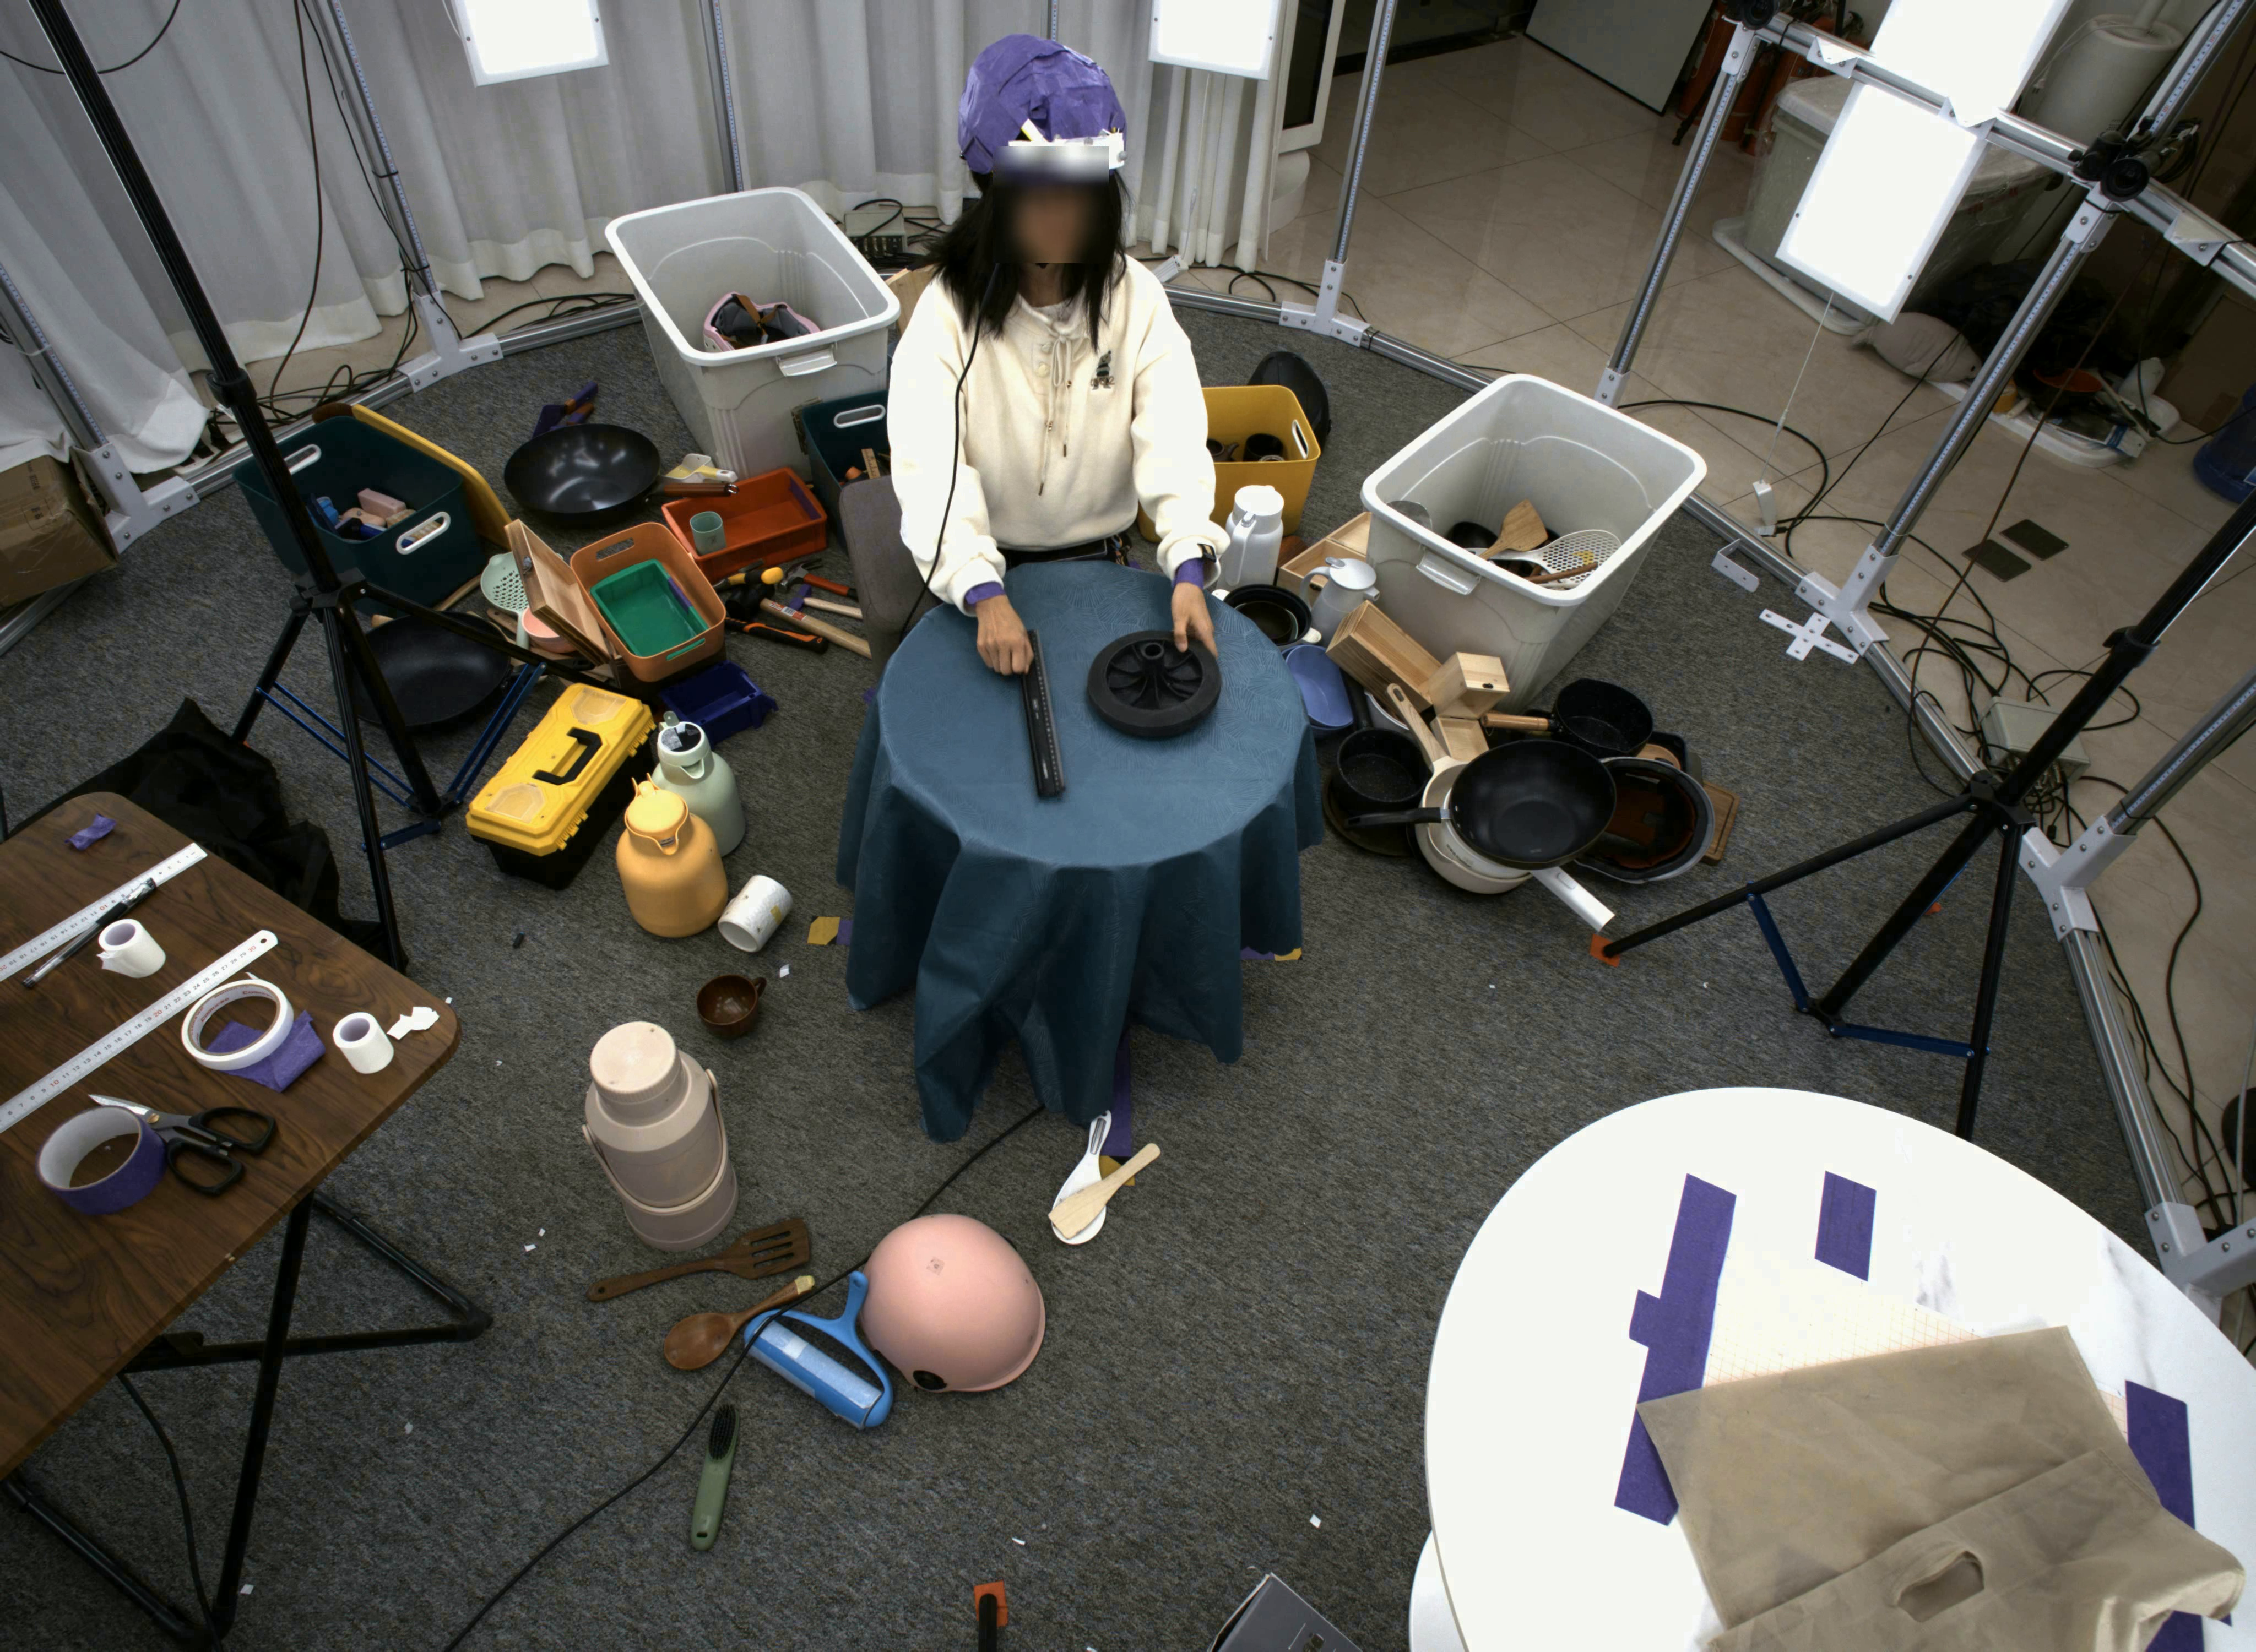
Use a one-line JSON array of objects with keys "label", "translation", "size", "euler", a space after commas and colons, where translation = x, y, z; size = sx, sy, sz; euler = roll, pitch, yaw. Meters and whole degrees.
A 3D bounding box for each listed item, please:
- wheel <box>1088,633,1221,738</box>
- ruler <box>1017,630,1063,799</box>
[{"label": "wheel", "translation": [0.037, -0.215, 1.804], "size": [0.190, 0.077, 0.192], "euler": [0, 52, 3]}, {"label": "ruler", "translation": [-0.124, -0.164, 1.782], "size": [0.039, 0.017, 0.320], "euler": [-7, 51, -2]}]
